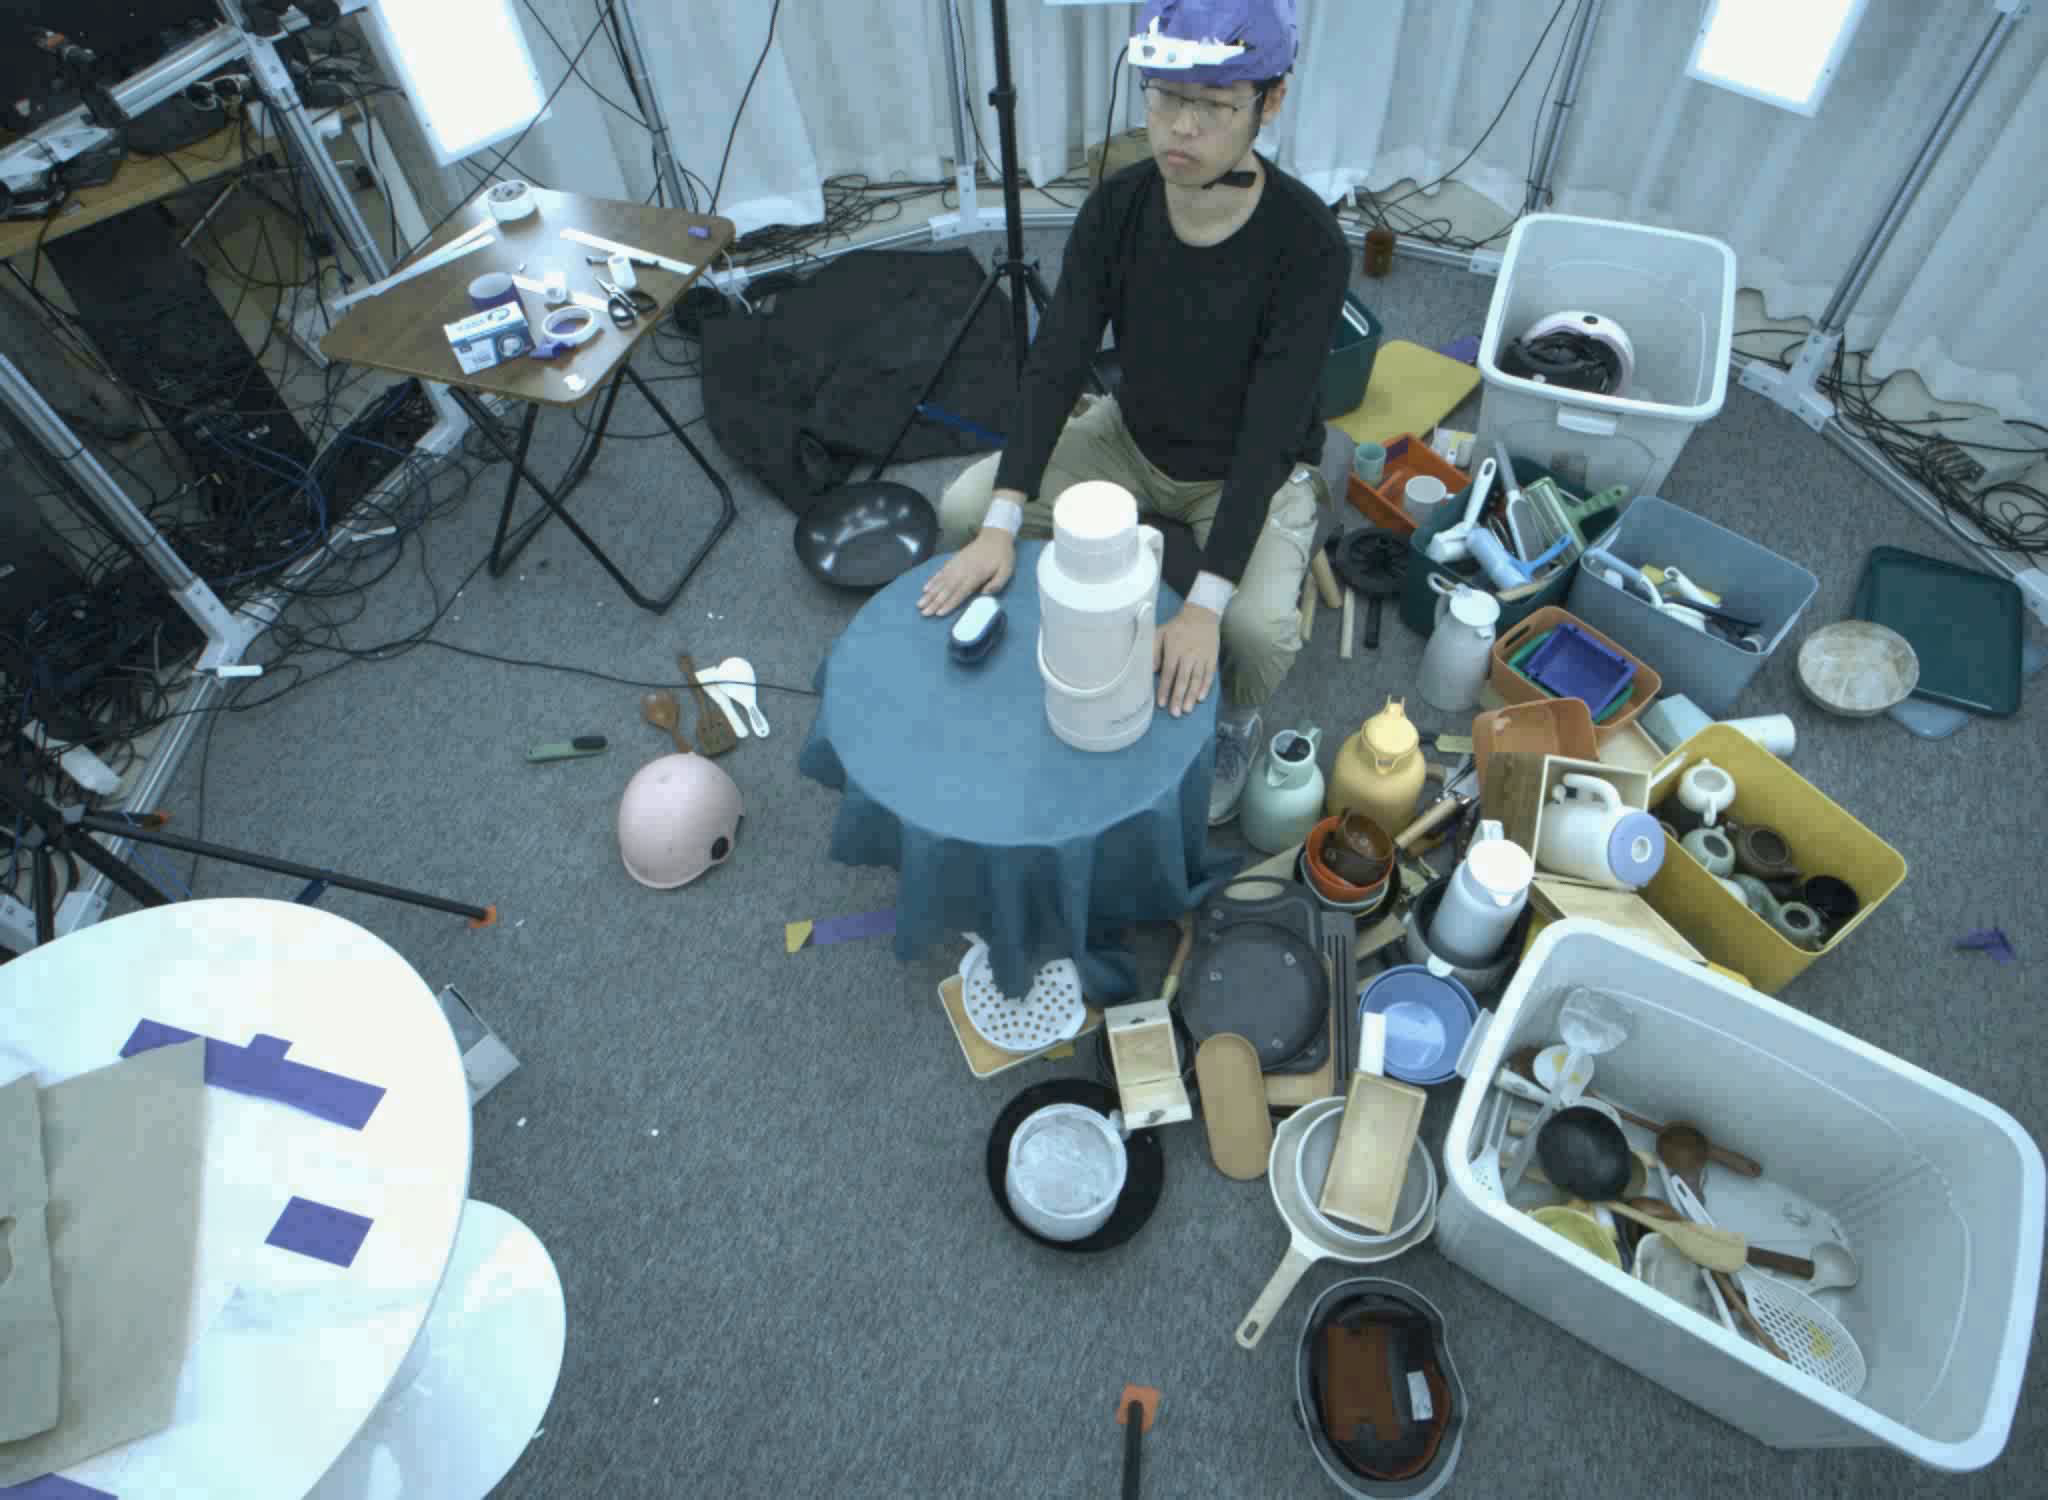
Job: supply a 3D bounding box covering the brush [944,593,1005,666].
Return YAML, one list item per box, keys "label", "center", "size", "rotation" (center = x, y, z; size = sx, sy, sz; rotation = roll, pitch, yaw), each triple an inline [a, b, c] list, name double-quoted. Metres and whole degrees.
- label: "brush"
  center: [-0.076, -0.184, 1.886]
  size: [0.067, 0.062, 0.122]
  rotation: [26, 60, 16]

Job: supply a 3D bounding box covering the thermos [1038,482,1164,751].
- label: "thermos"
  center: [0.113, -0.184, 1.670]
  size: [0.172, 0.411, 0.208]
  rotation: [36, 65, 27]
